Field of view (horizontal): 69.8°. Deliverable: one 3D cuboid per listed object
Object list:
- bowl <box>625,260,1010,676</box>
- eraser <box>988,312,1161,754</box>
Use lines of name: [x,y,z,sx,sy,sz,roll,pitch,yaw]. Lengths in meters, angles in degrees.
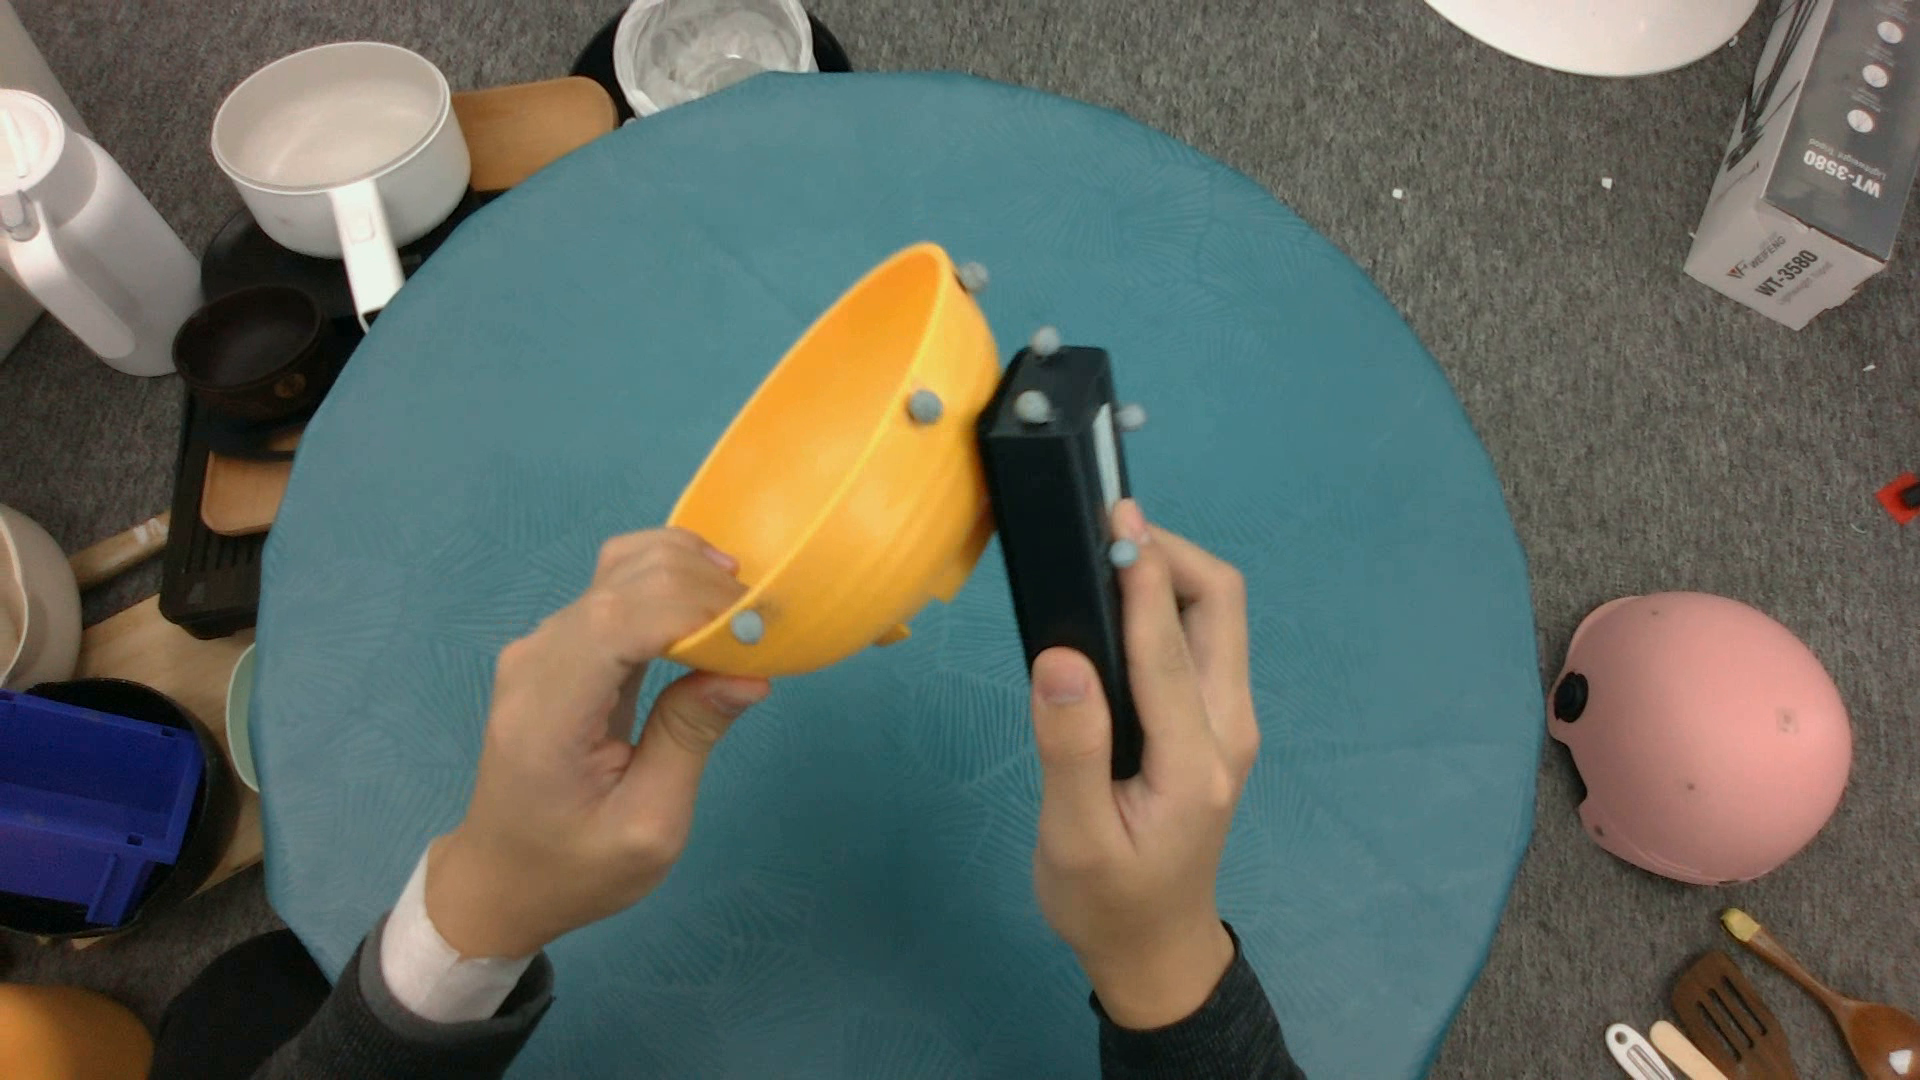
bowl: [-0.030,-0.011,0.411,0.060,0.145,0.146,41,68,-21]
eraser: [0.036,-0.001,0.406,0.030,0.125,0.054,2,34,19]
